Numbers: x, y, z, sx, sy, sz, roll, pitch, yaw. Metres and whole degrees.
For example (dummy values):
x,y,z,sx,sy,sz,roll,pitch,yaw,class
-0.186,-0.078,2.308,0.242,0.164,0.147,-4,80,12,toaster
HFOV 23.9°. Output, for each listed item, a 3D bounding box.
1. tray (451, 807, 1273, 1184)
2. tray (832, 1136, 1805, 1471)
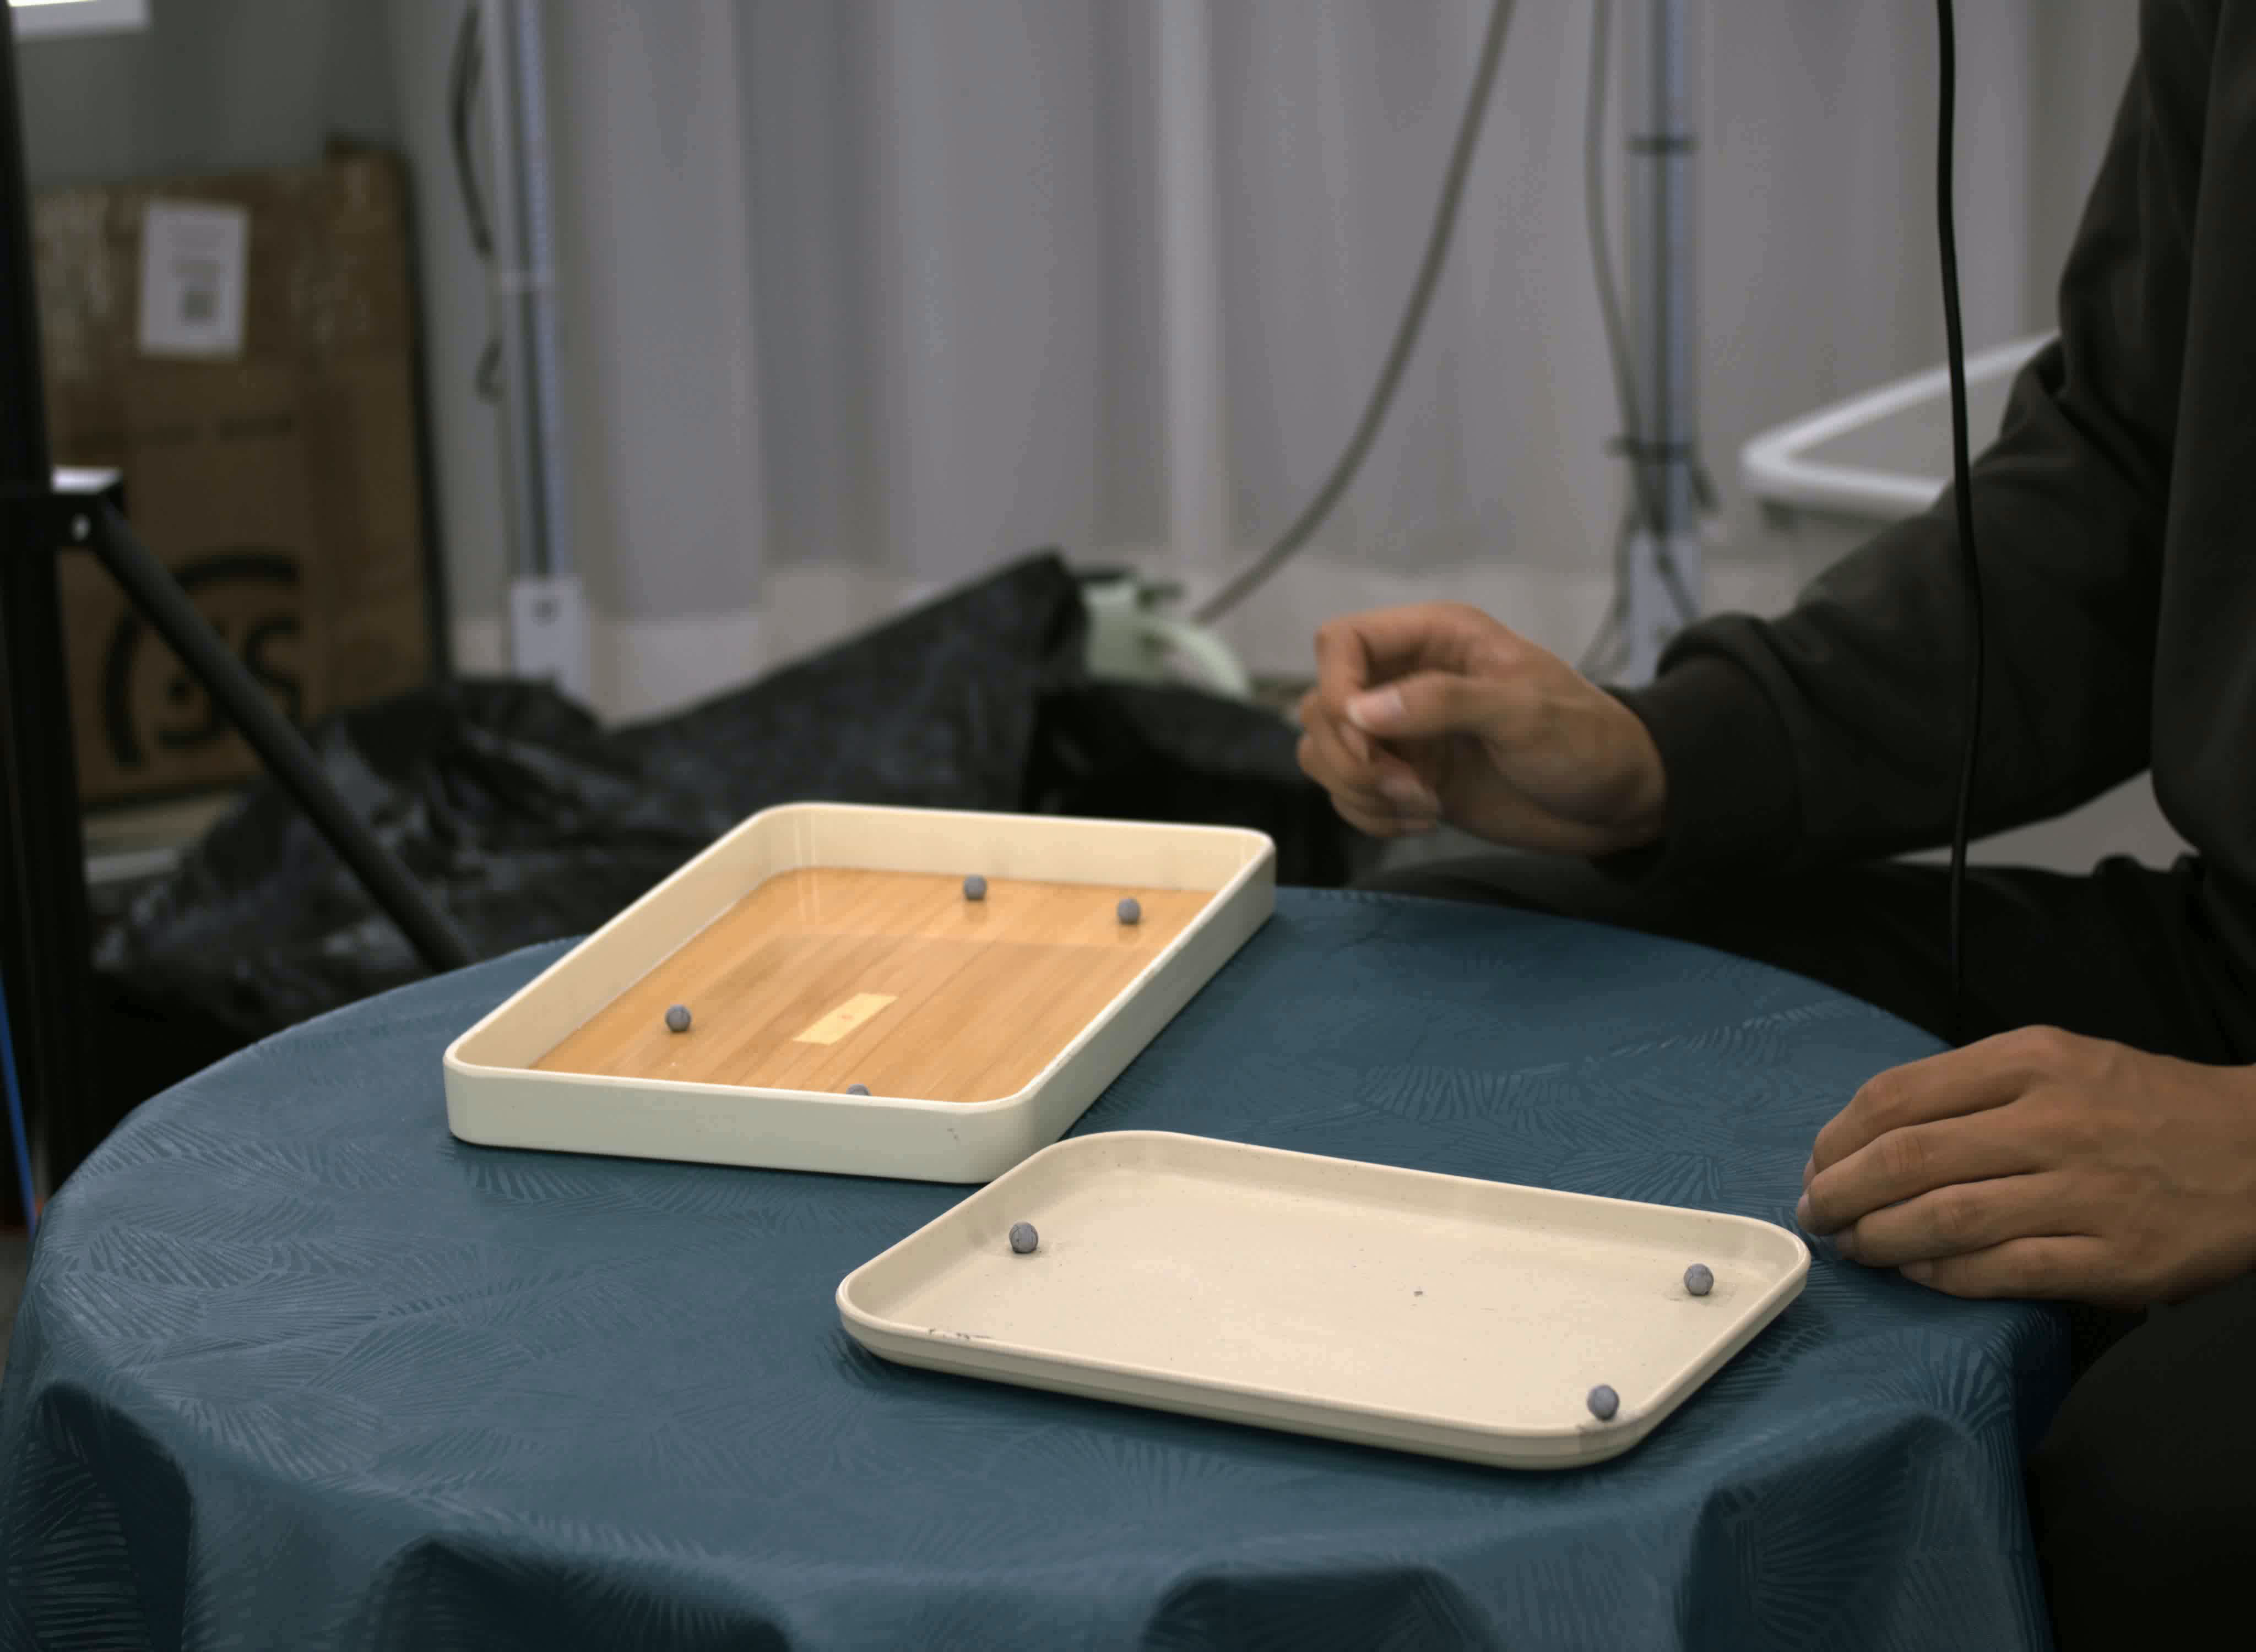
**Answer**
x,y,z,sx,sy,sz,roll,pitch,yaw,class
-0.078,0.050,1.726,0.193,0.027,0.297,3,17,18,tray
0.053,0.129,1.447,0.244,0.017,0.168,7,17,28,tray
